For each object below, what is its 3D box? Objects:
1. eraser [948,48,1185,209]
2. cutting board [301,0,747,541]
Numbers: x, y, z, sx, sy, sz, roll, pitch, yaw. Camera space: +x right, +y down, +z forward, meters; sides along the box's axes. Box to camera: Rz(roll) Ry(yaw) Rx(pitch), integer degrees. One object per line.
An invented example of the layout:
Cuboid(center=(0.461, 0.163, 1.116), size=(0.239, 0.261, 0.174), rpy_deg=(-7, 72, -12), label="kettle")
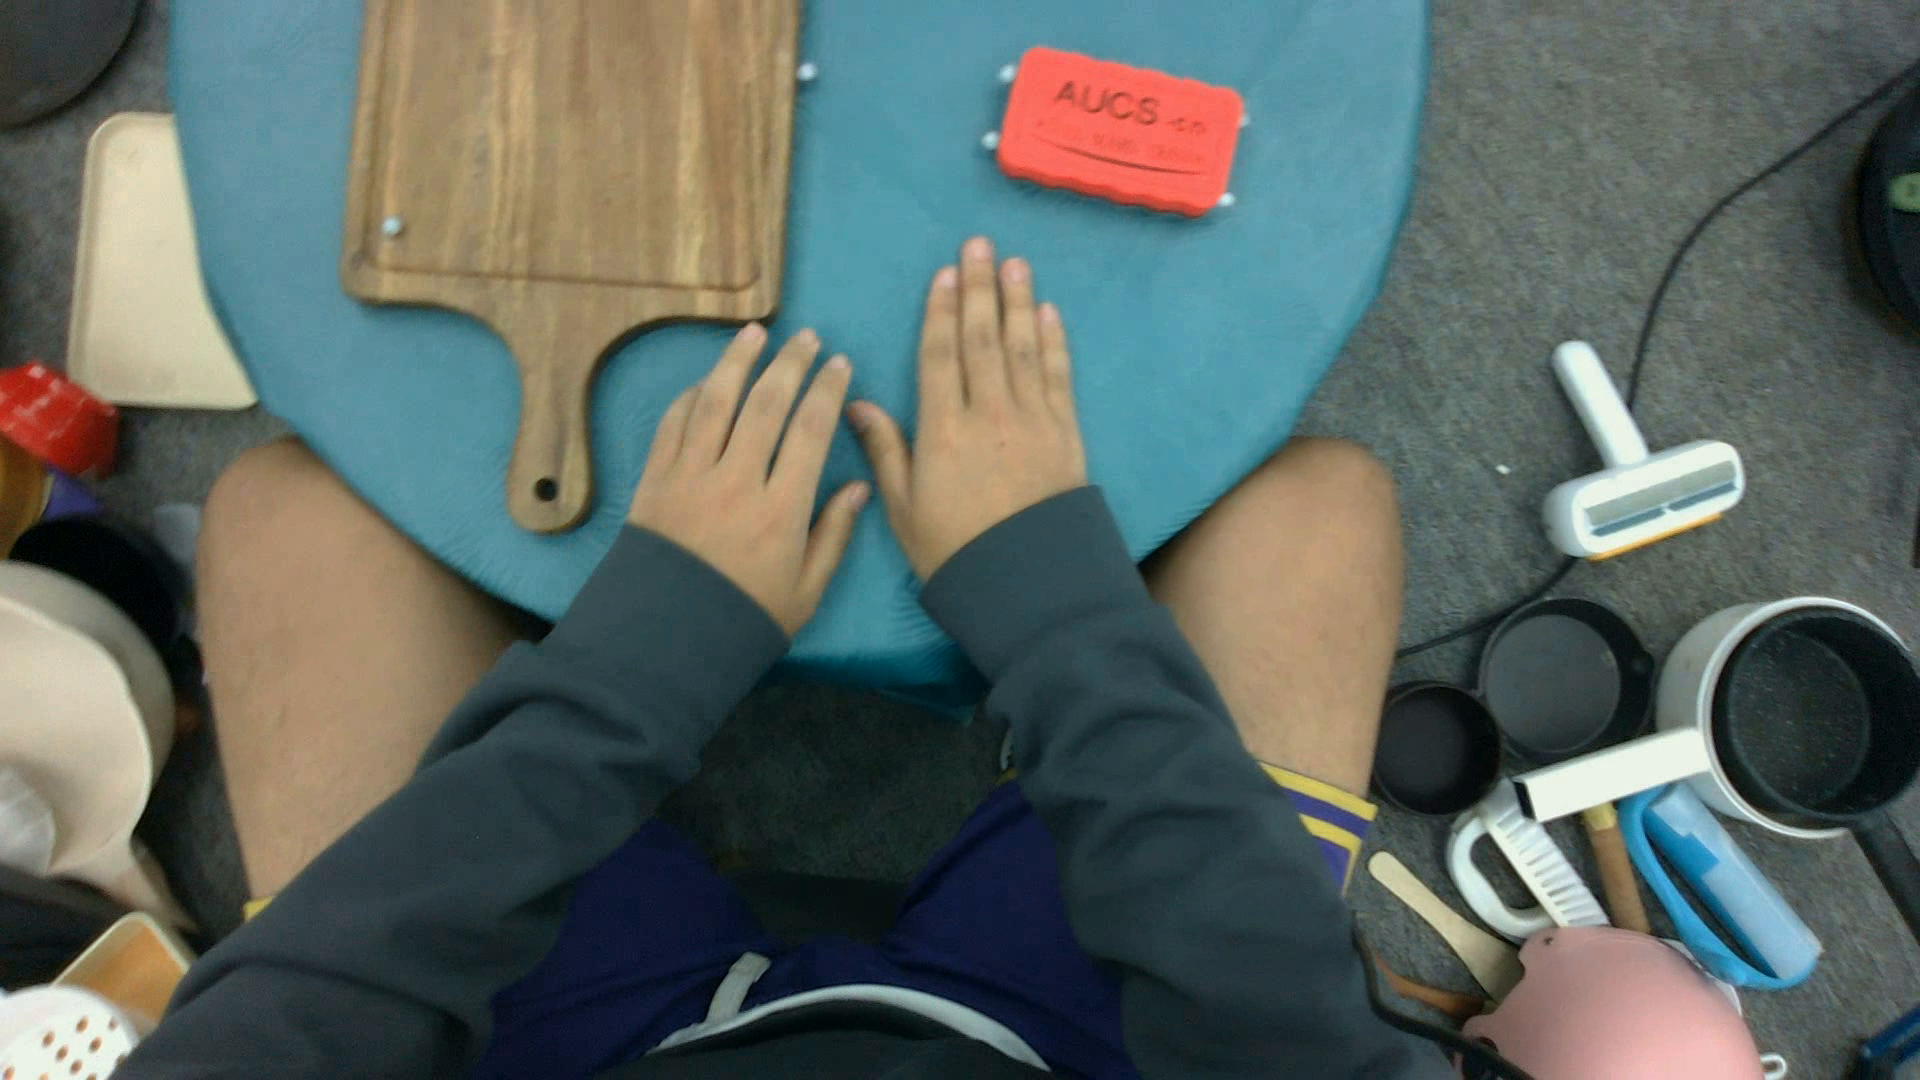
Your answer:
Cuboid(center=(0.051, -0.196, 0.658), size=(0.108, 0.023, 0.059), rpy_deg=(9, 85, -6), label="eraser")
Cuboid(center=(-0.200, -0.176, 0.638), size=(0.201, 0.023, 0.352), rpy_deg=(0, 87, -6), label="cutting board")
